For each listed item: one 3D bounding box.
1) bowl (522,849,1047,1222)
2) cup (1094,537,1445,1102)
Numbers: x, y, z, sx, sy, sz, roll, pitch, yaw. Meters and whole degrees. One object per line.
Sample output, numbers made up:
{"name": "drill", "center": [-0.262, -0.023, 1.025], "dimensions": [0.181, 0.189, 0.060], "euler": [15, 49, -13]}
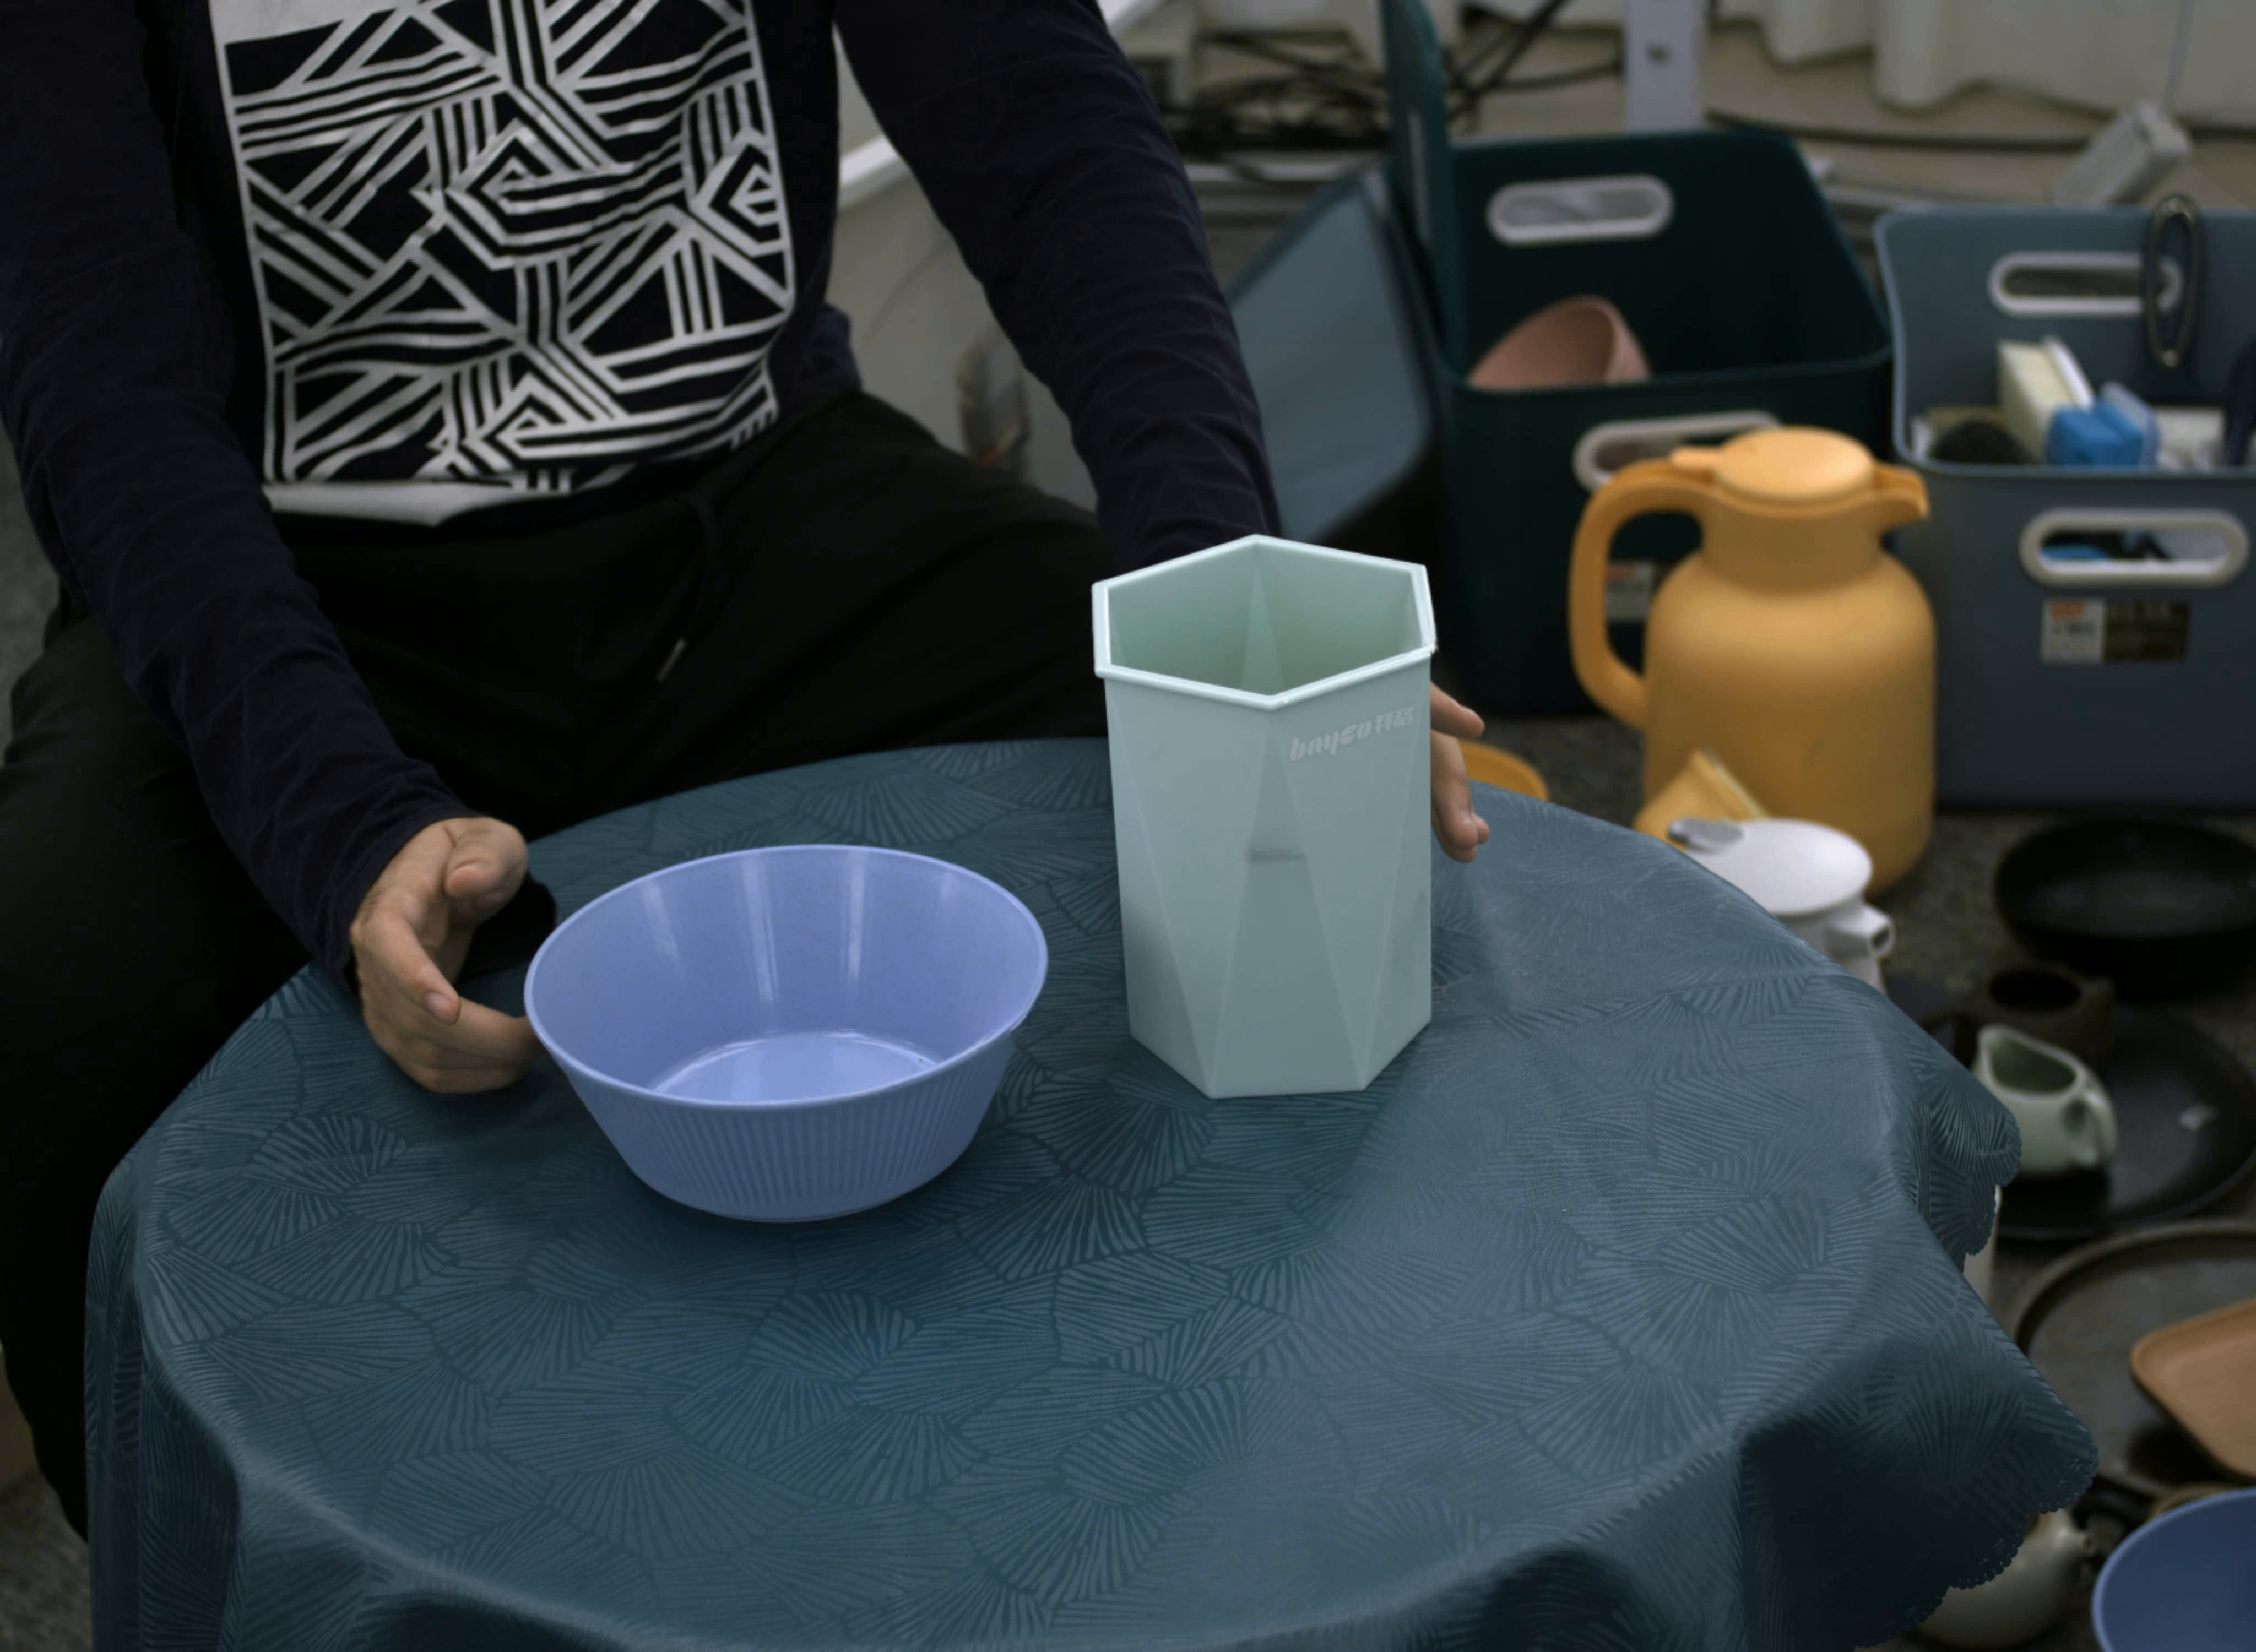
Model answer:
{"name": "bowl", "center": [-0.113, 0.076, 1.883], "dimensions": [0.175, 0.069, 0.179], "euler": [-2, 27, 1]}
{"name": "cup", "center": [0.051, 0.000, 1.915], "dimensions": [0.132, 0.161, 0.115], "euler": [-18, 28, -30]}
